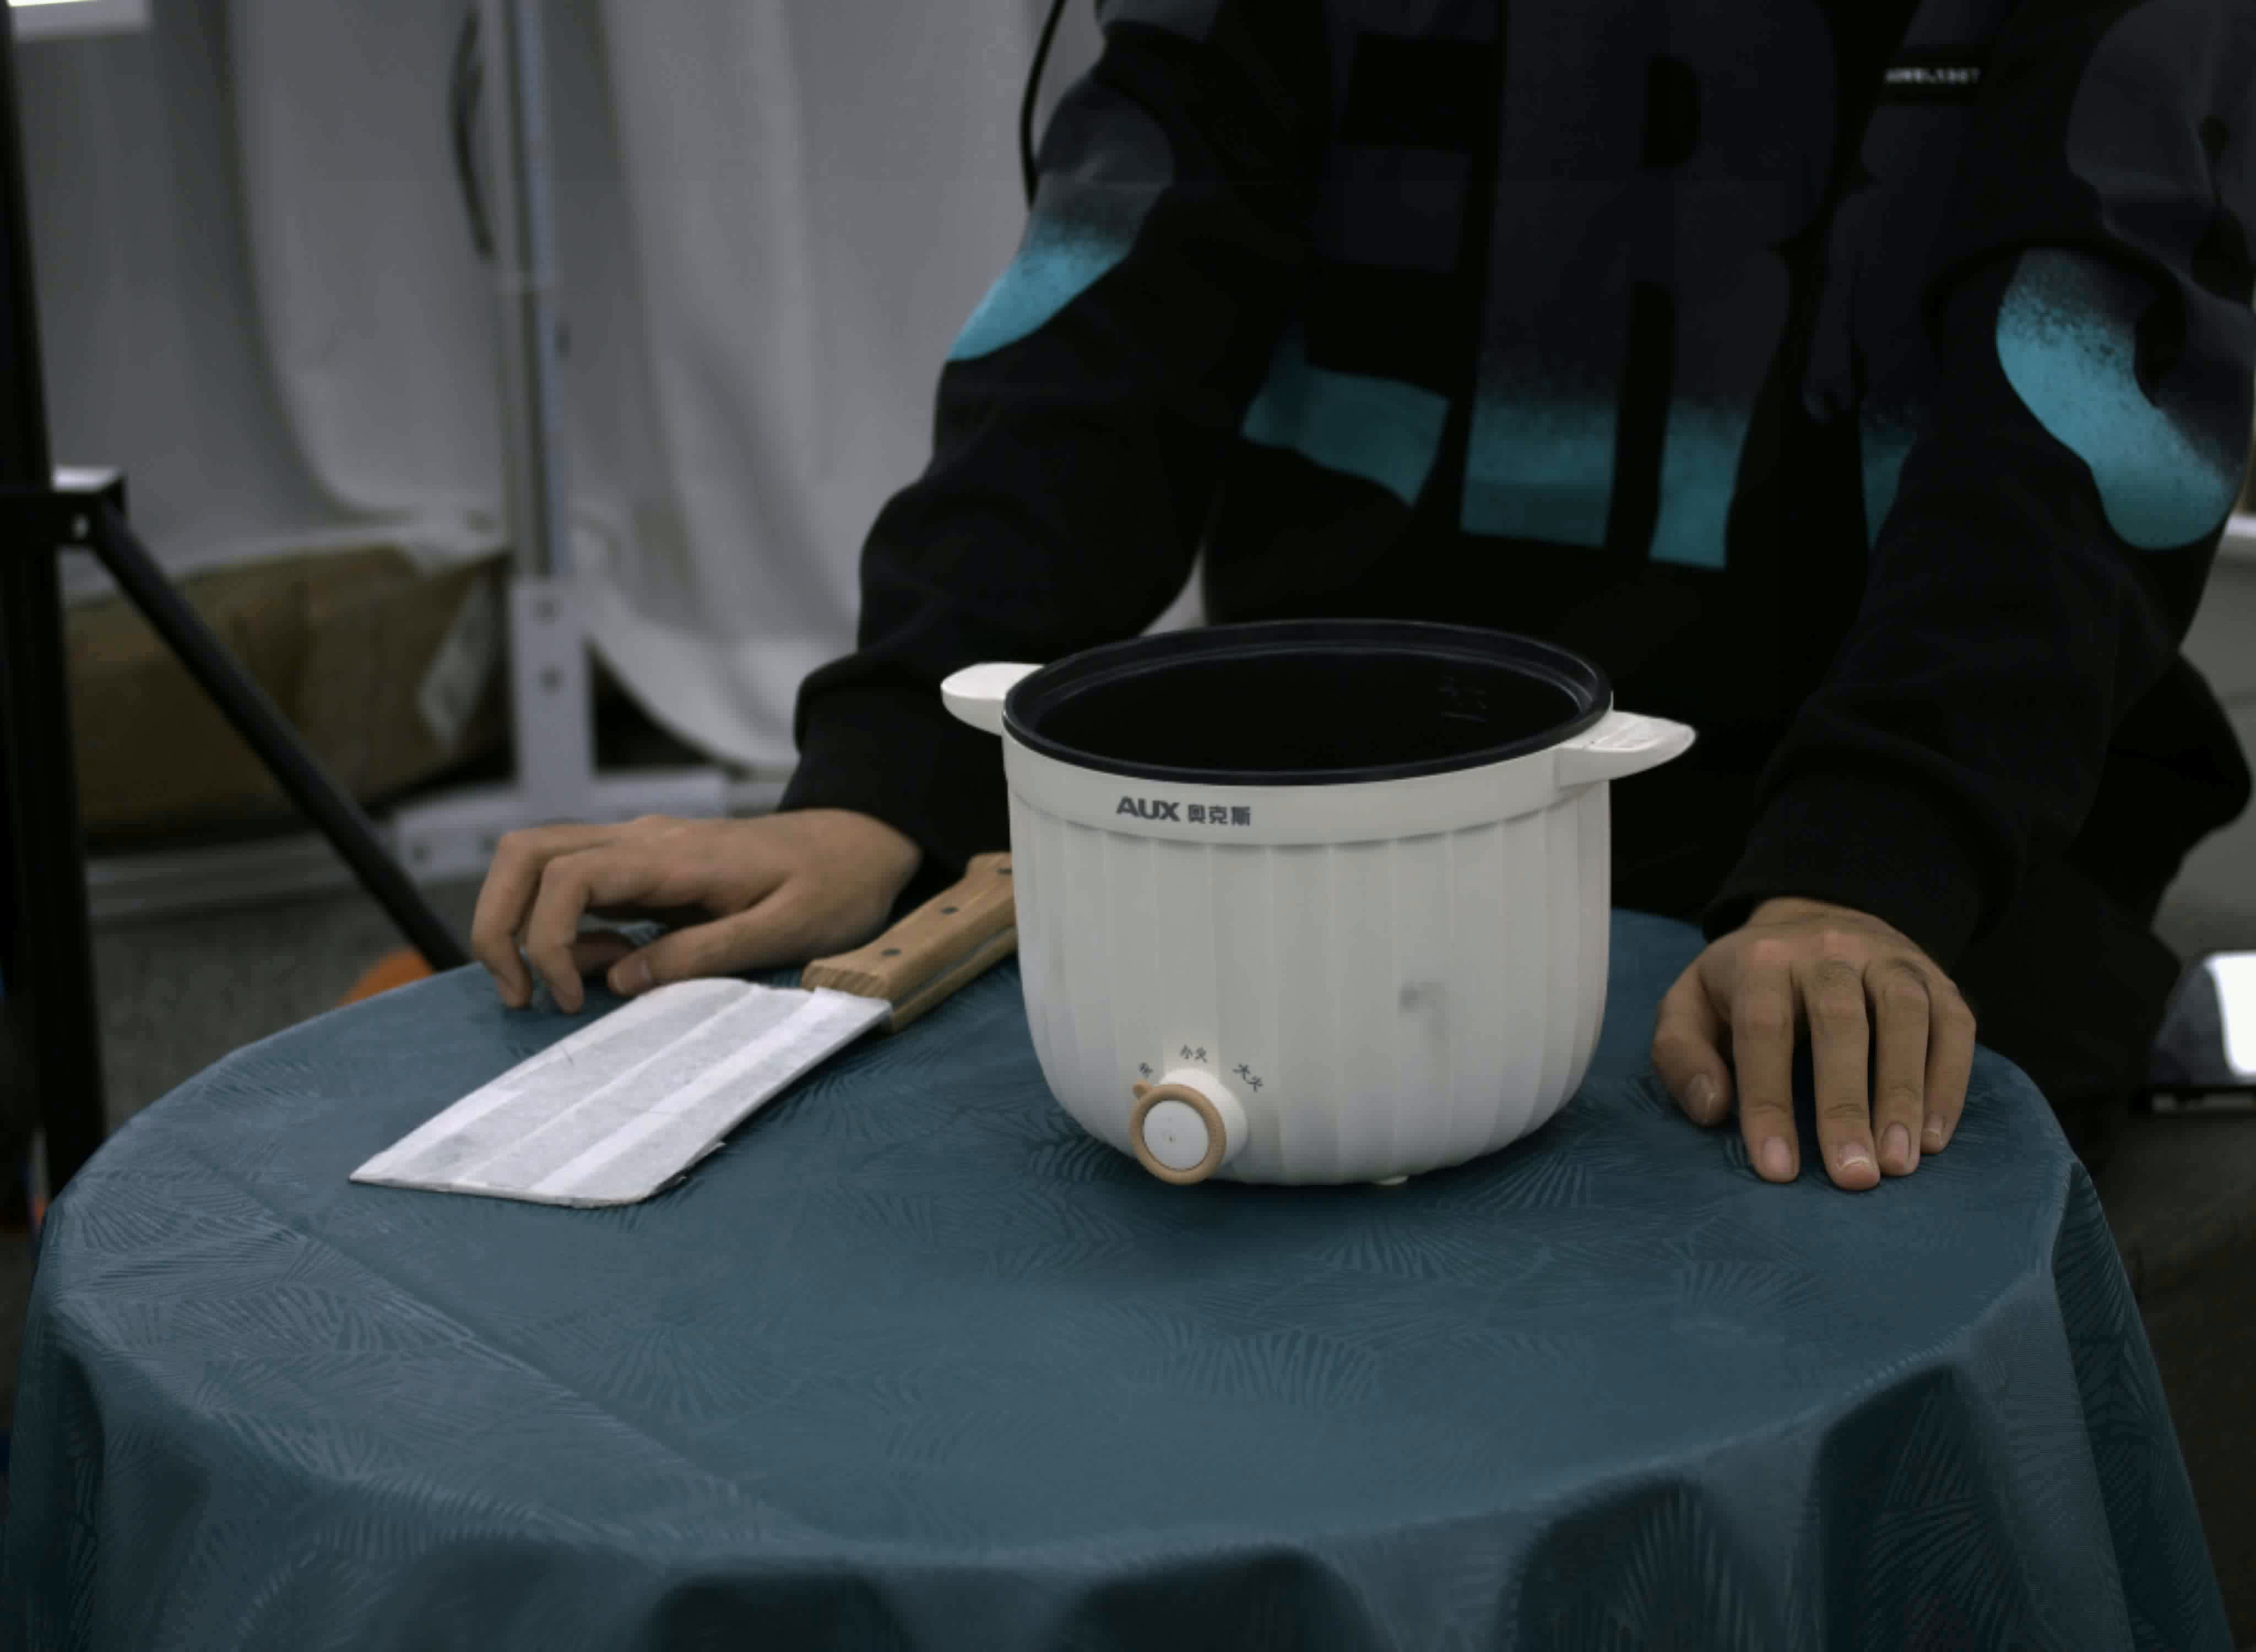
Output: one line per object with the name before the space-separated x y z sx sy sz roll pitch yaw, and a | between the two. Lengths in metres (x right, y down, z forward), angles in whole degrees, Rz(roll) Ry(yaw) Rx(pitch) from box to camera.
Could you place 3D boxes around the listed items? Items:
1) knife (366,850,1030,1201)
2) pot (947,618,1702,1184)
knife | -0.116 0.064 1.702 0.116 0.022 0.310 7 21 31
pot | 0.055 0.025 1.585 0.244 0.143 0.187 4 14 27
